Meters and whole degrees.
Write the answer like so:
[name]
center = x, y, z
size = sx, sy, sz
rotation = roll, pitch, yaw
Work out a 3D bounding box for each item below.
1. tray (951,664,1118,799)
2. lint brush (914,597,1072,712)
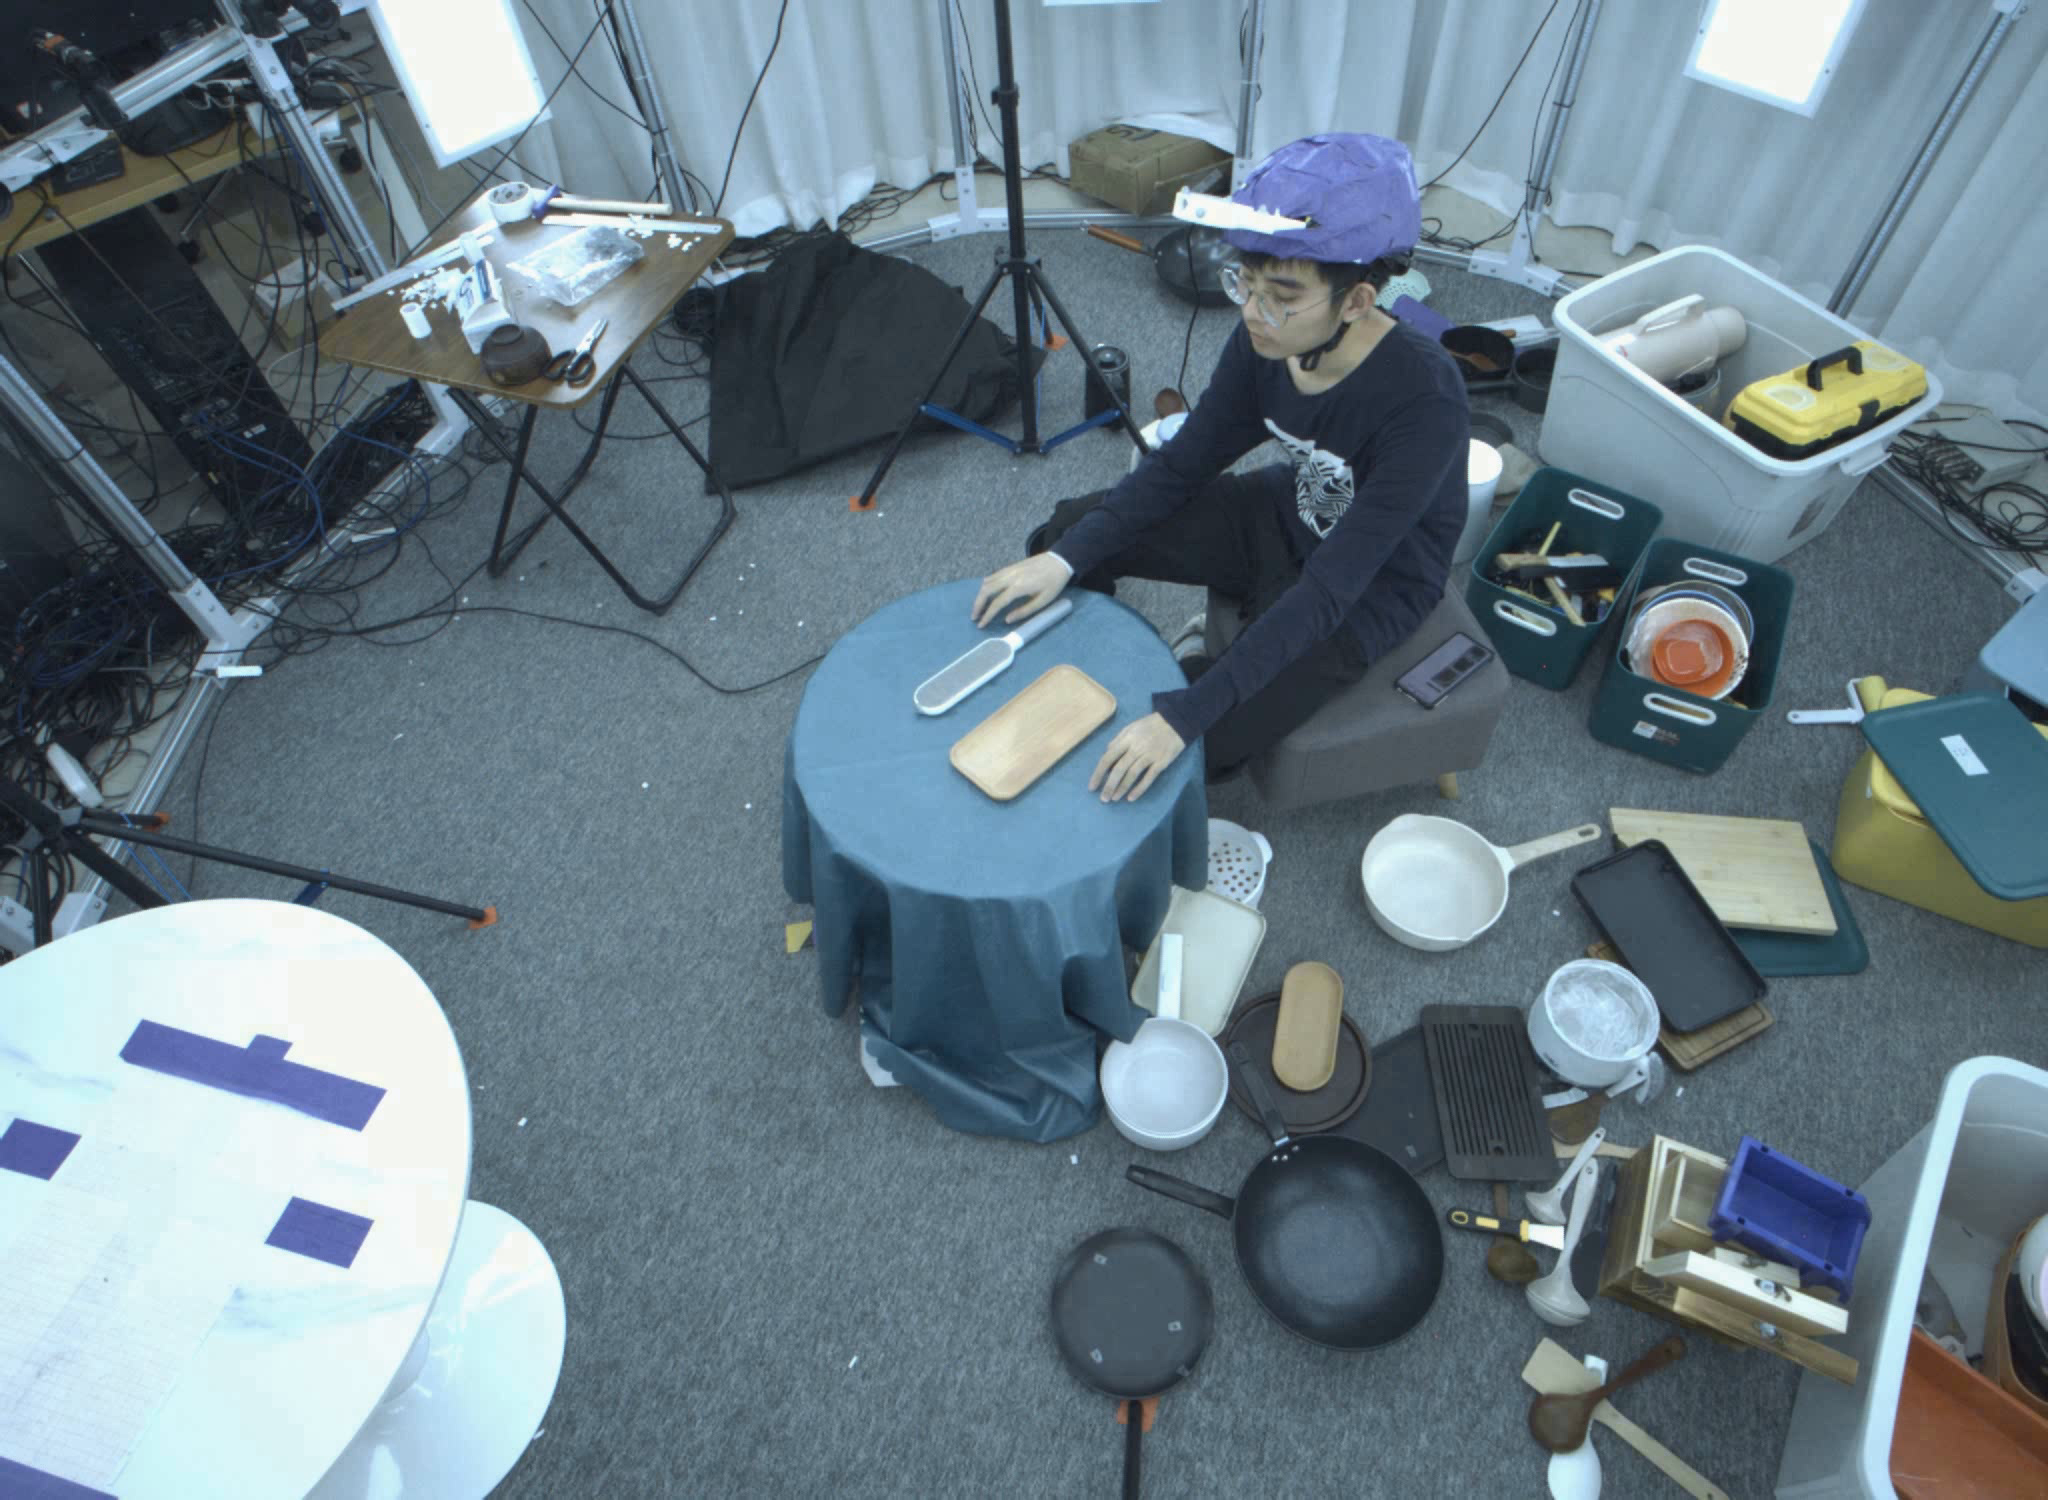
[tray]
center = 0.017, -0.029, 1.805
size = 0.252, 0.023, 0.128
rotation = -37, 64, -23
[lint brush]
center = -0.043, -0.150, 1.887
size = 0.311, 0.021, 0.059
rotation = -37, 56, -22
